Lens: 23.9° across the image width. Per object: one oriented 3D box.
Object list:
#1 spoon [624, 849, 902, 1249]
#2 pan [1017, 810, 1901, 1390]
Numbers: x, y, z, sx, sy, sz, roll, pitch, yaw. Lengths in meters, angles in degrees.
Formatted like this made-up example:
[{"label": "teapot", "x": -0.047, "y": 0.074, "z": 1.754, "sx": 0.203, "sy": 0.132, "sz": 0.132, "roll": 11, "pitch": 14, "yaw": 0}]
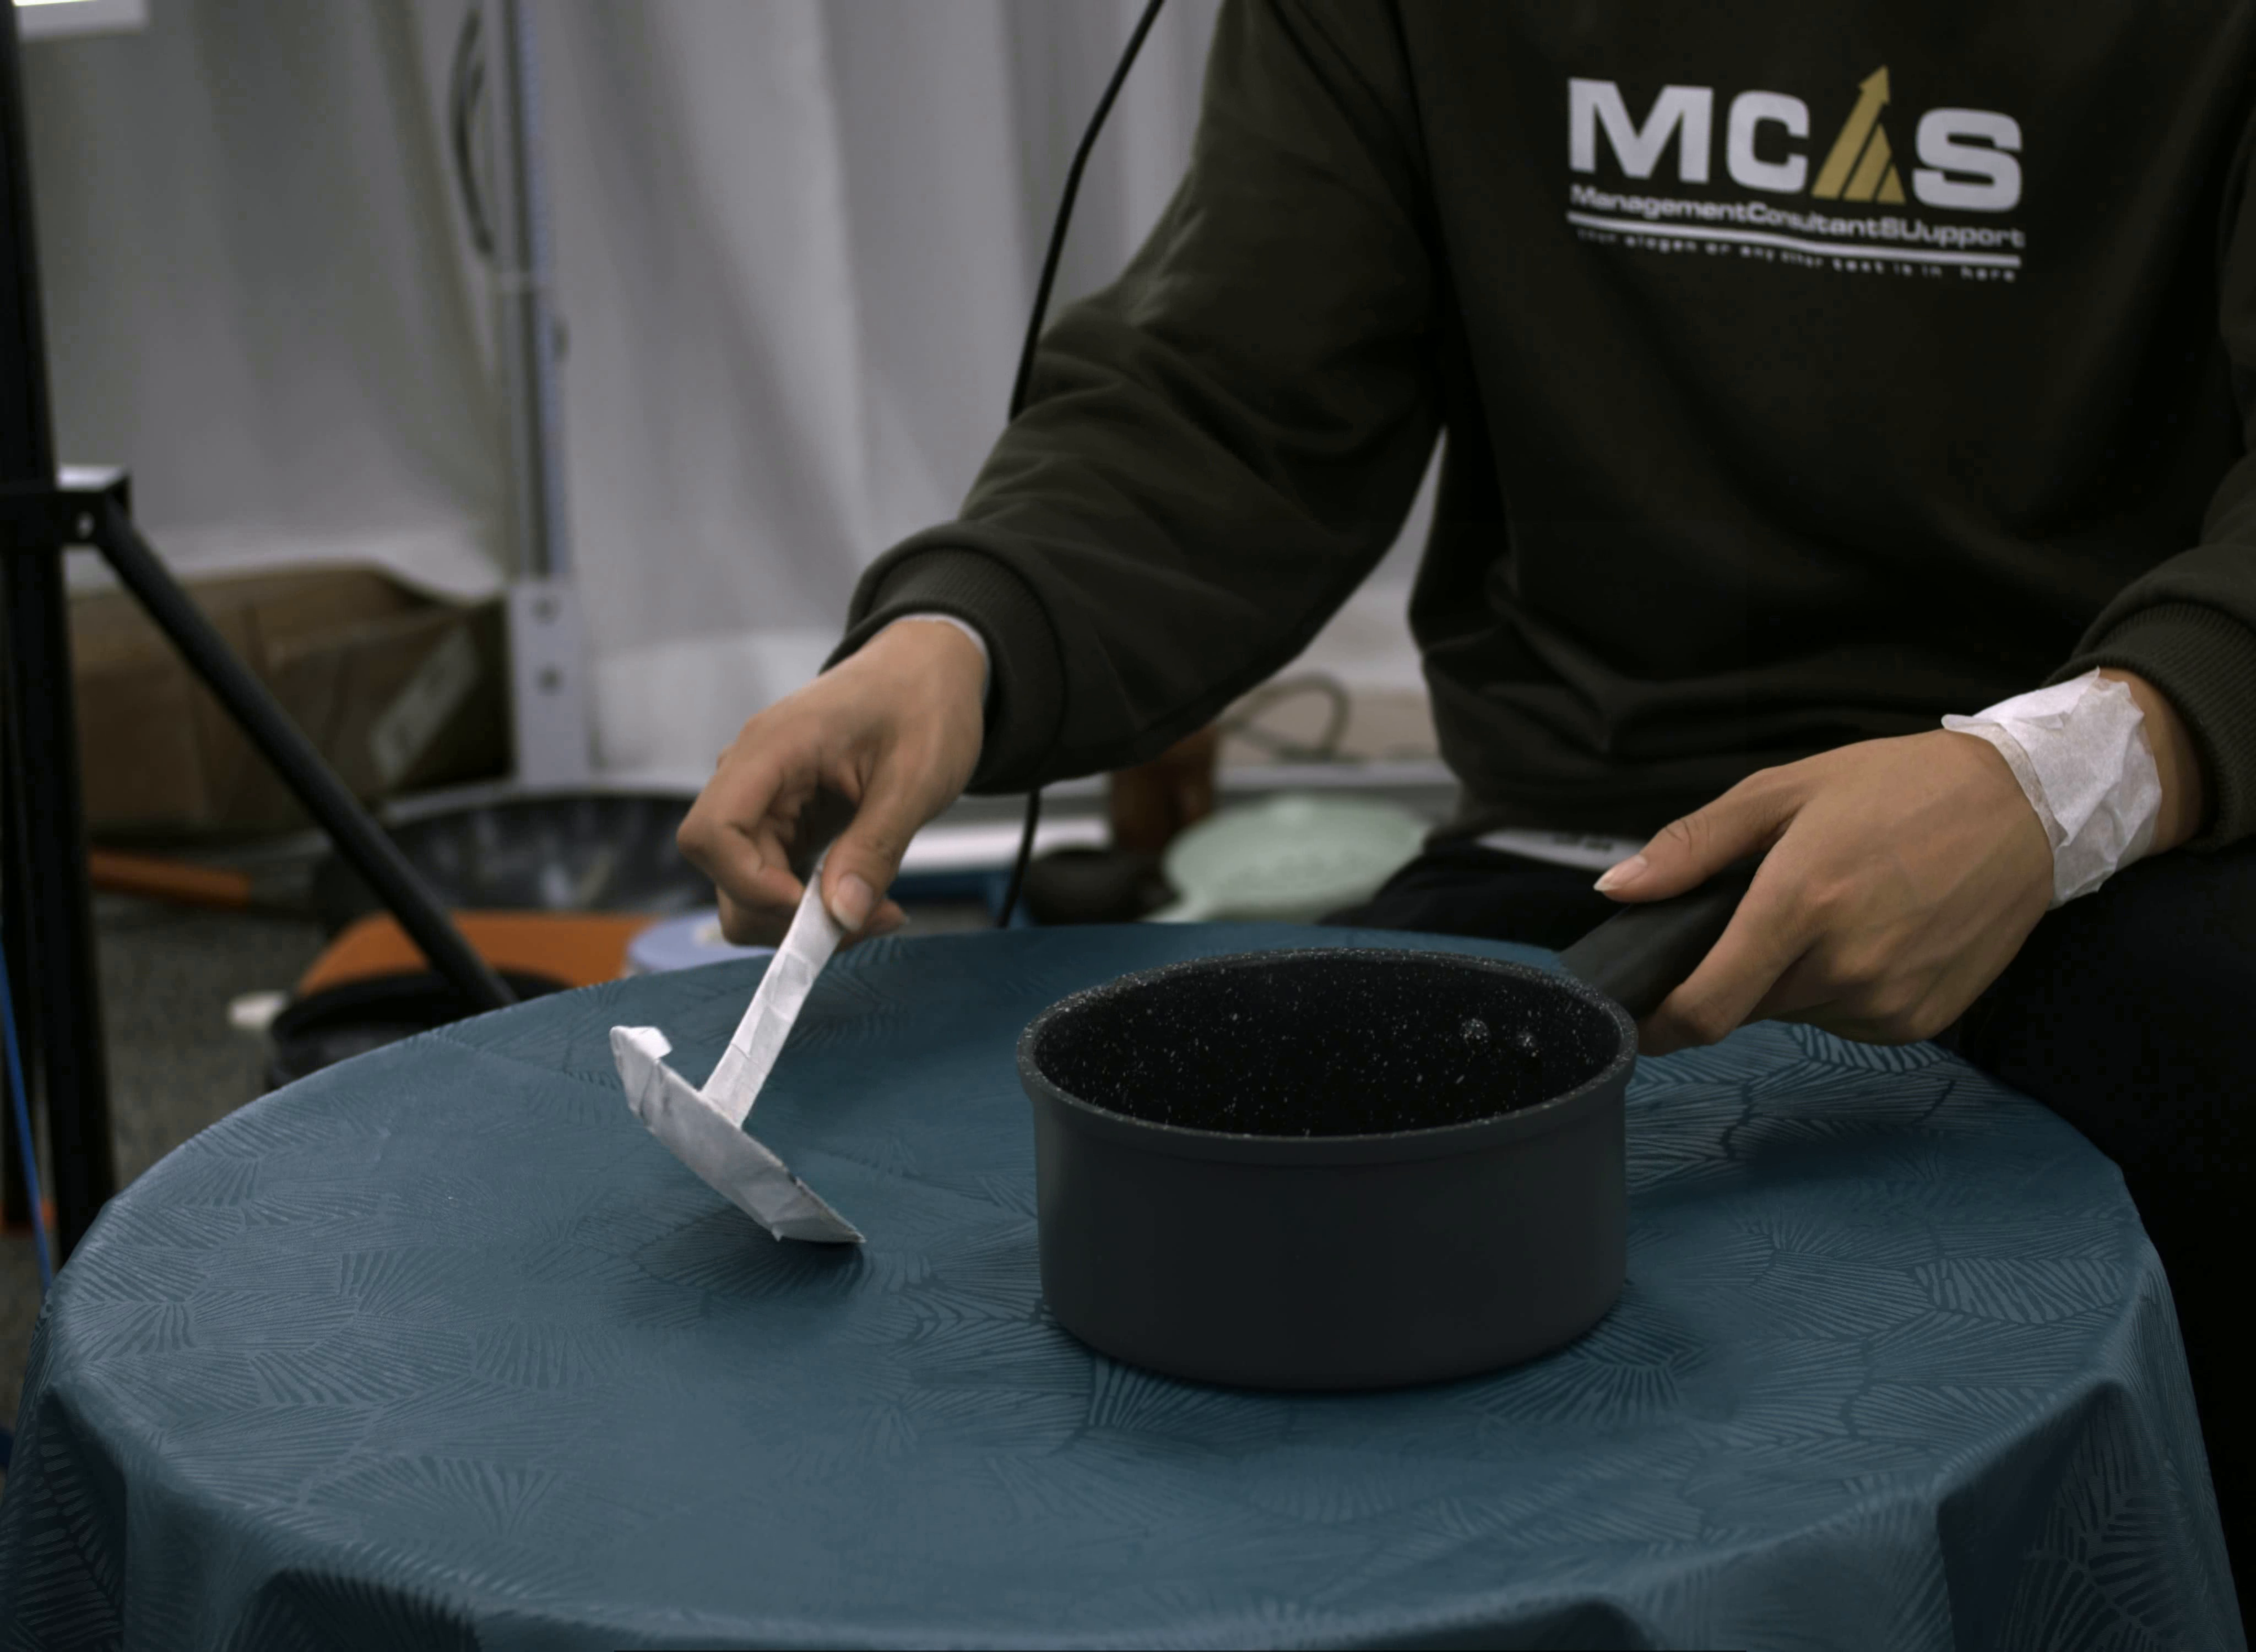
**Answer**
[{"label": "spoon", "x": -0.088, "y": 0.051, "z": 1.612, "sx": 0.060, "sy": 0.100, "sz": 0.276, "roll": -42, "pitch": 8, "yaw": 25}, {"label": "pan", "x": 0.110, "y": 0.074, "z": 1.513, "sx": 0.176, "sy": 0.086, "sz": 0.321, "roll": 14, "pitch": 24, "yaw": 43}]
